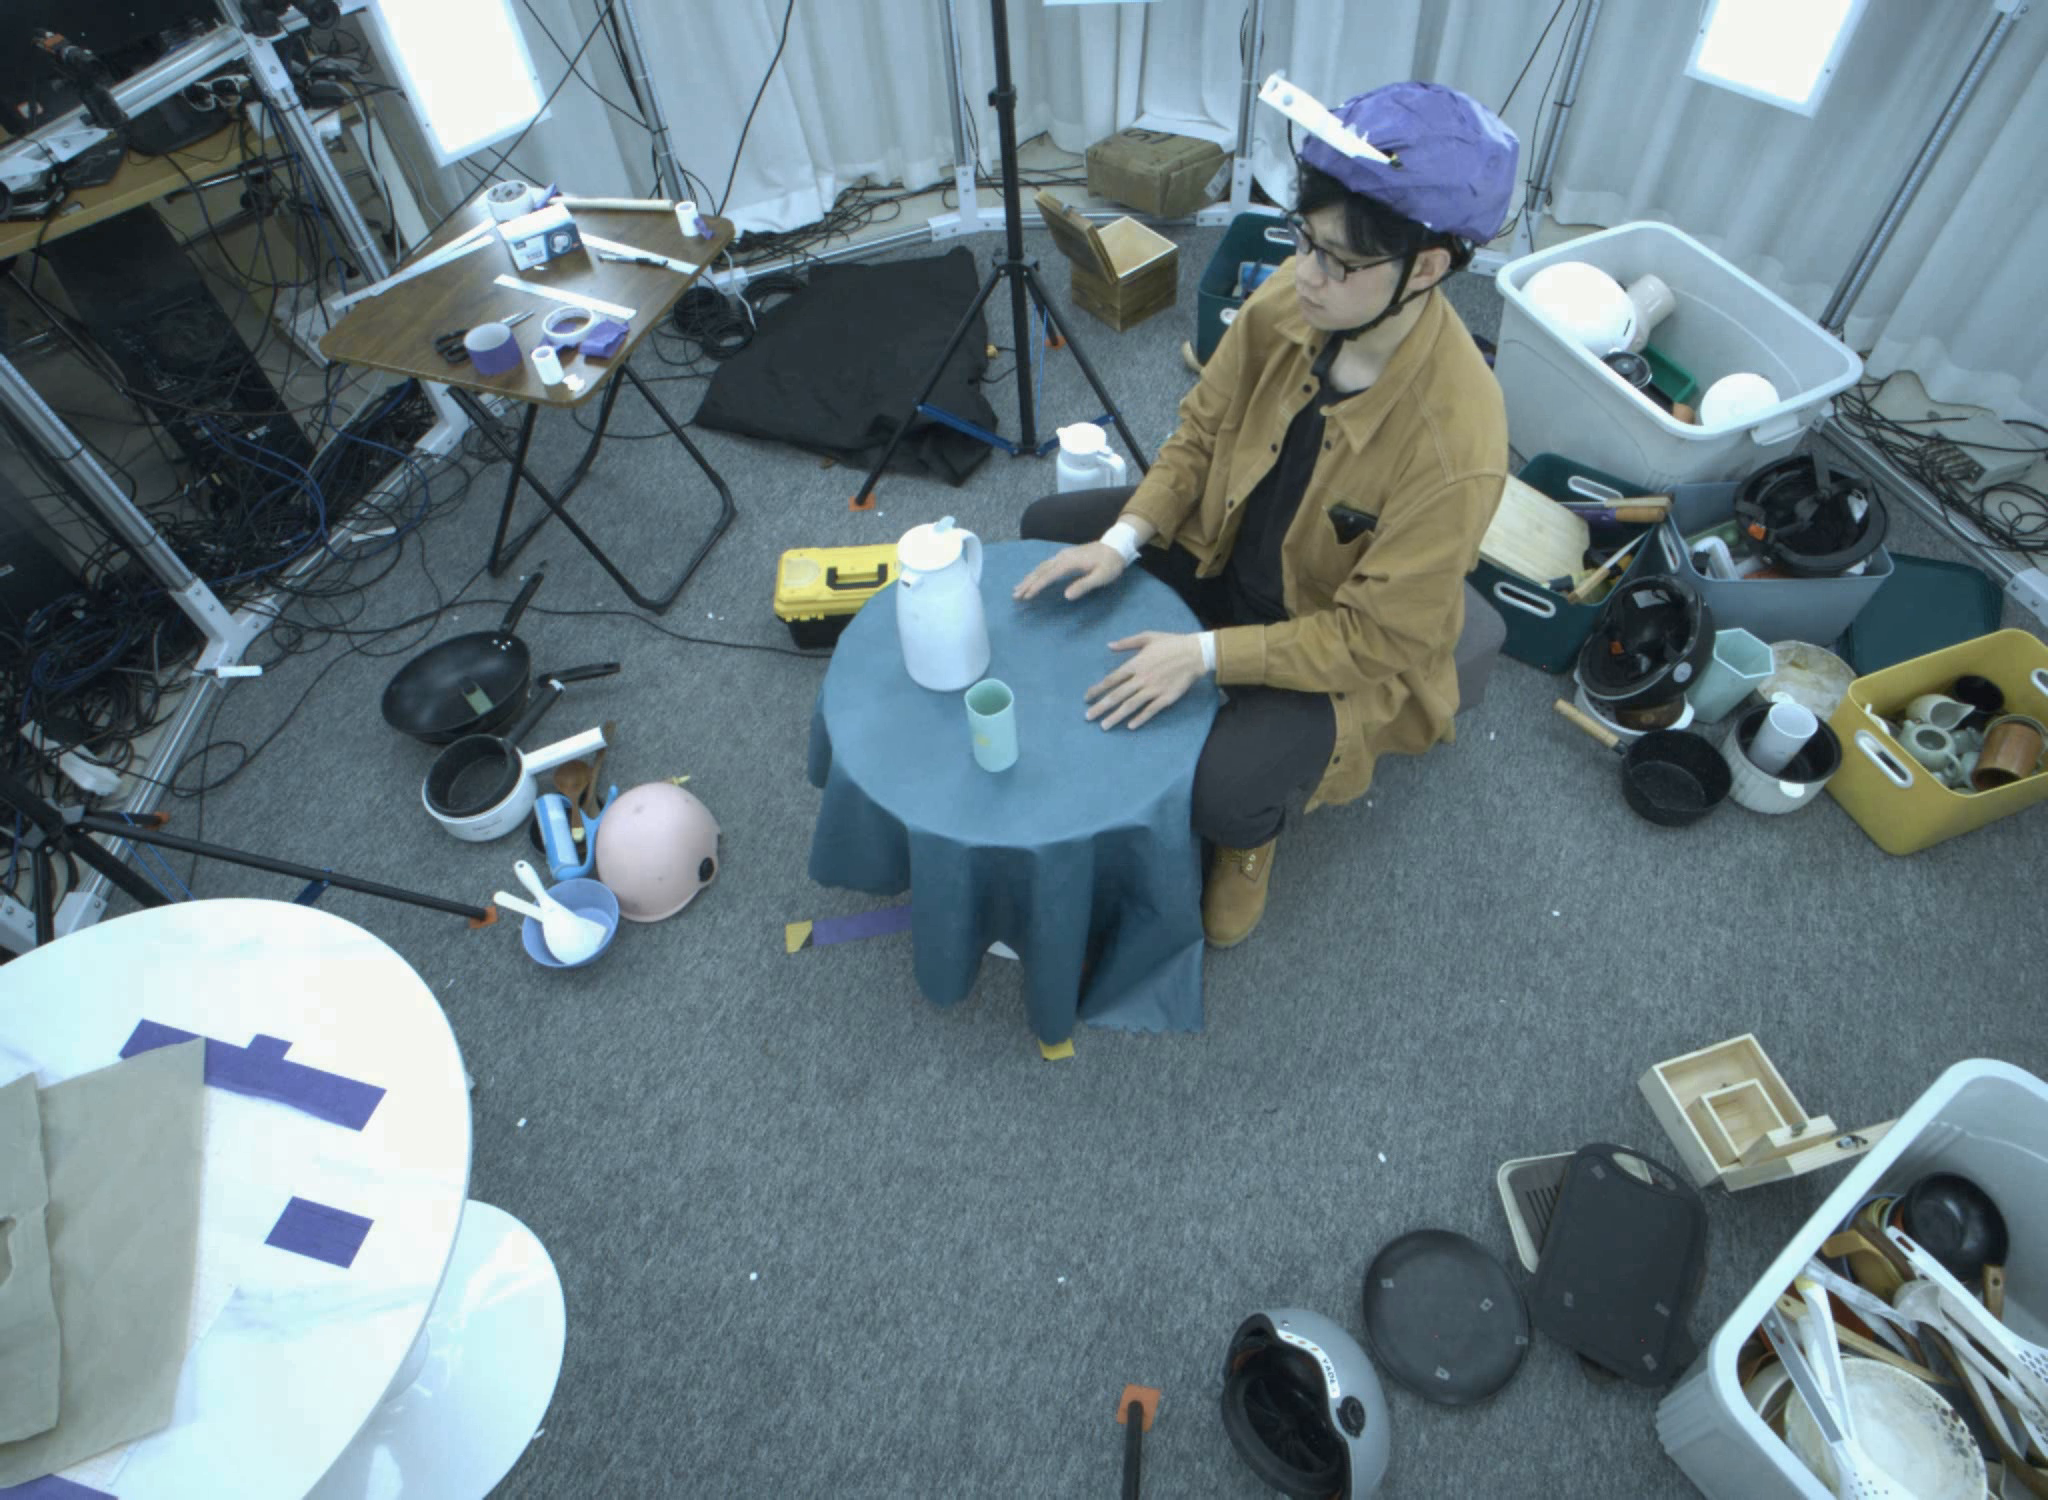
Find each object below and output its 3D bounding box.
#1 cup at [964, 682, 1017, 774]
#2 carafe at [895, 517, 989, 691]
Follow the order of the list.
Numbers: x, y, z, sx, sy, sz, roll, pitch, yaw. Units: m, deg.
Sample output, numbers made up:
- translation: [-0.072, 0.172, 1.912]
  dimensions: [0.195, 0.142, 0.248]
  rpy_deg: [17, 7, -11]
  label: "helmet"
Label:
- translation: [-0.044, -0.031, 1.730]
  dimensions: [0.066, 0.134, 0.066]
  rpy_deg: [-1, 55, 3]
  label: "cup"
- translation: [-0.117, -0.228, 1.797]
  dimensions: [0.130, 0.251, 0.168]
  rpy_deg: [24, 59, 20]
  label: "carafe"
